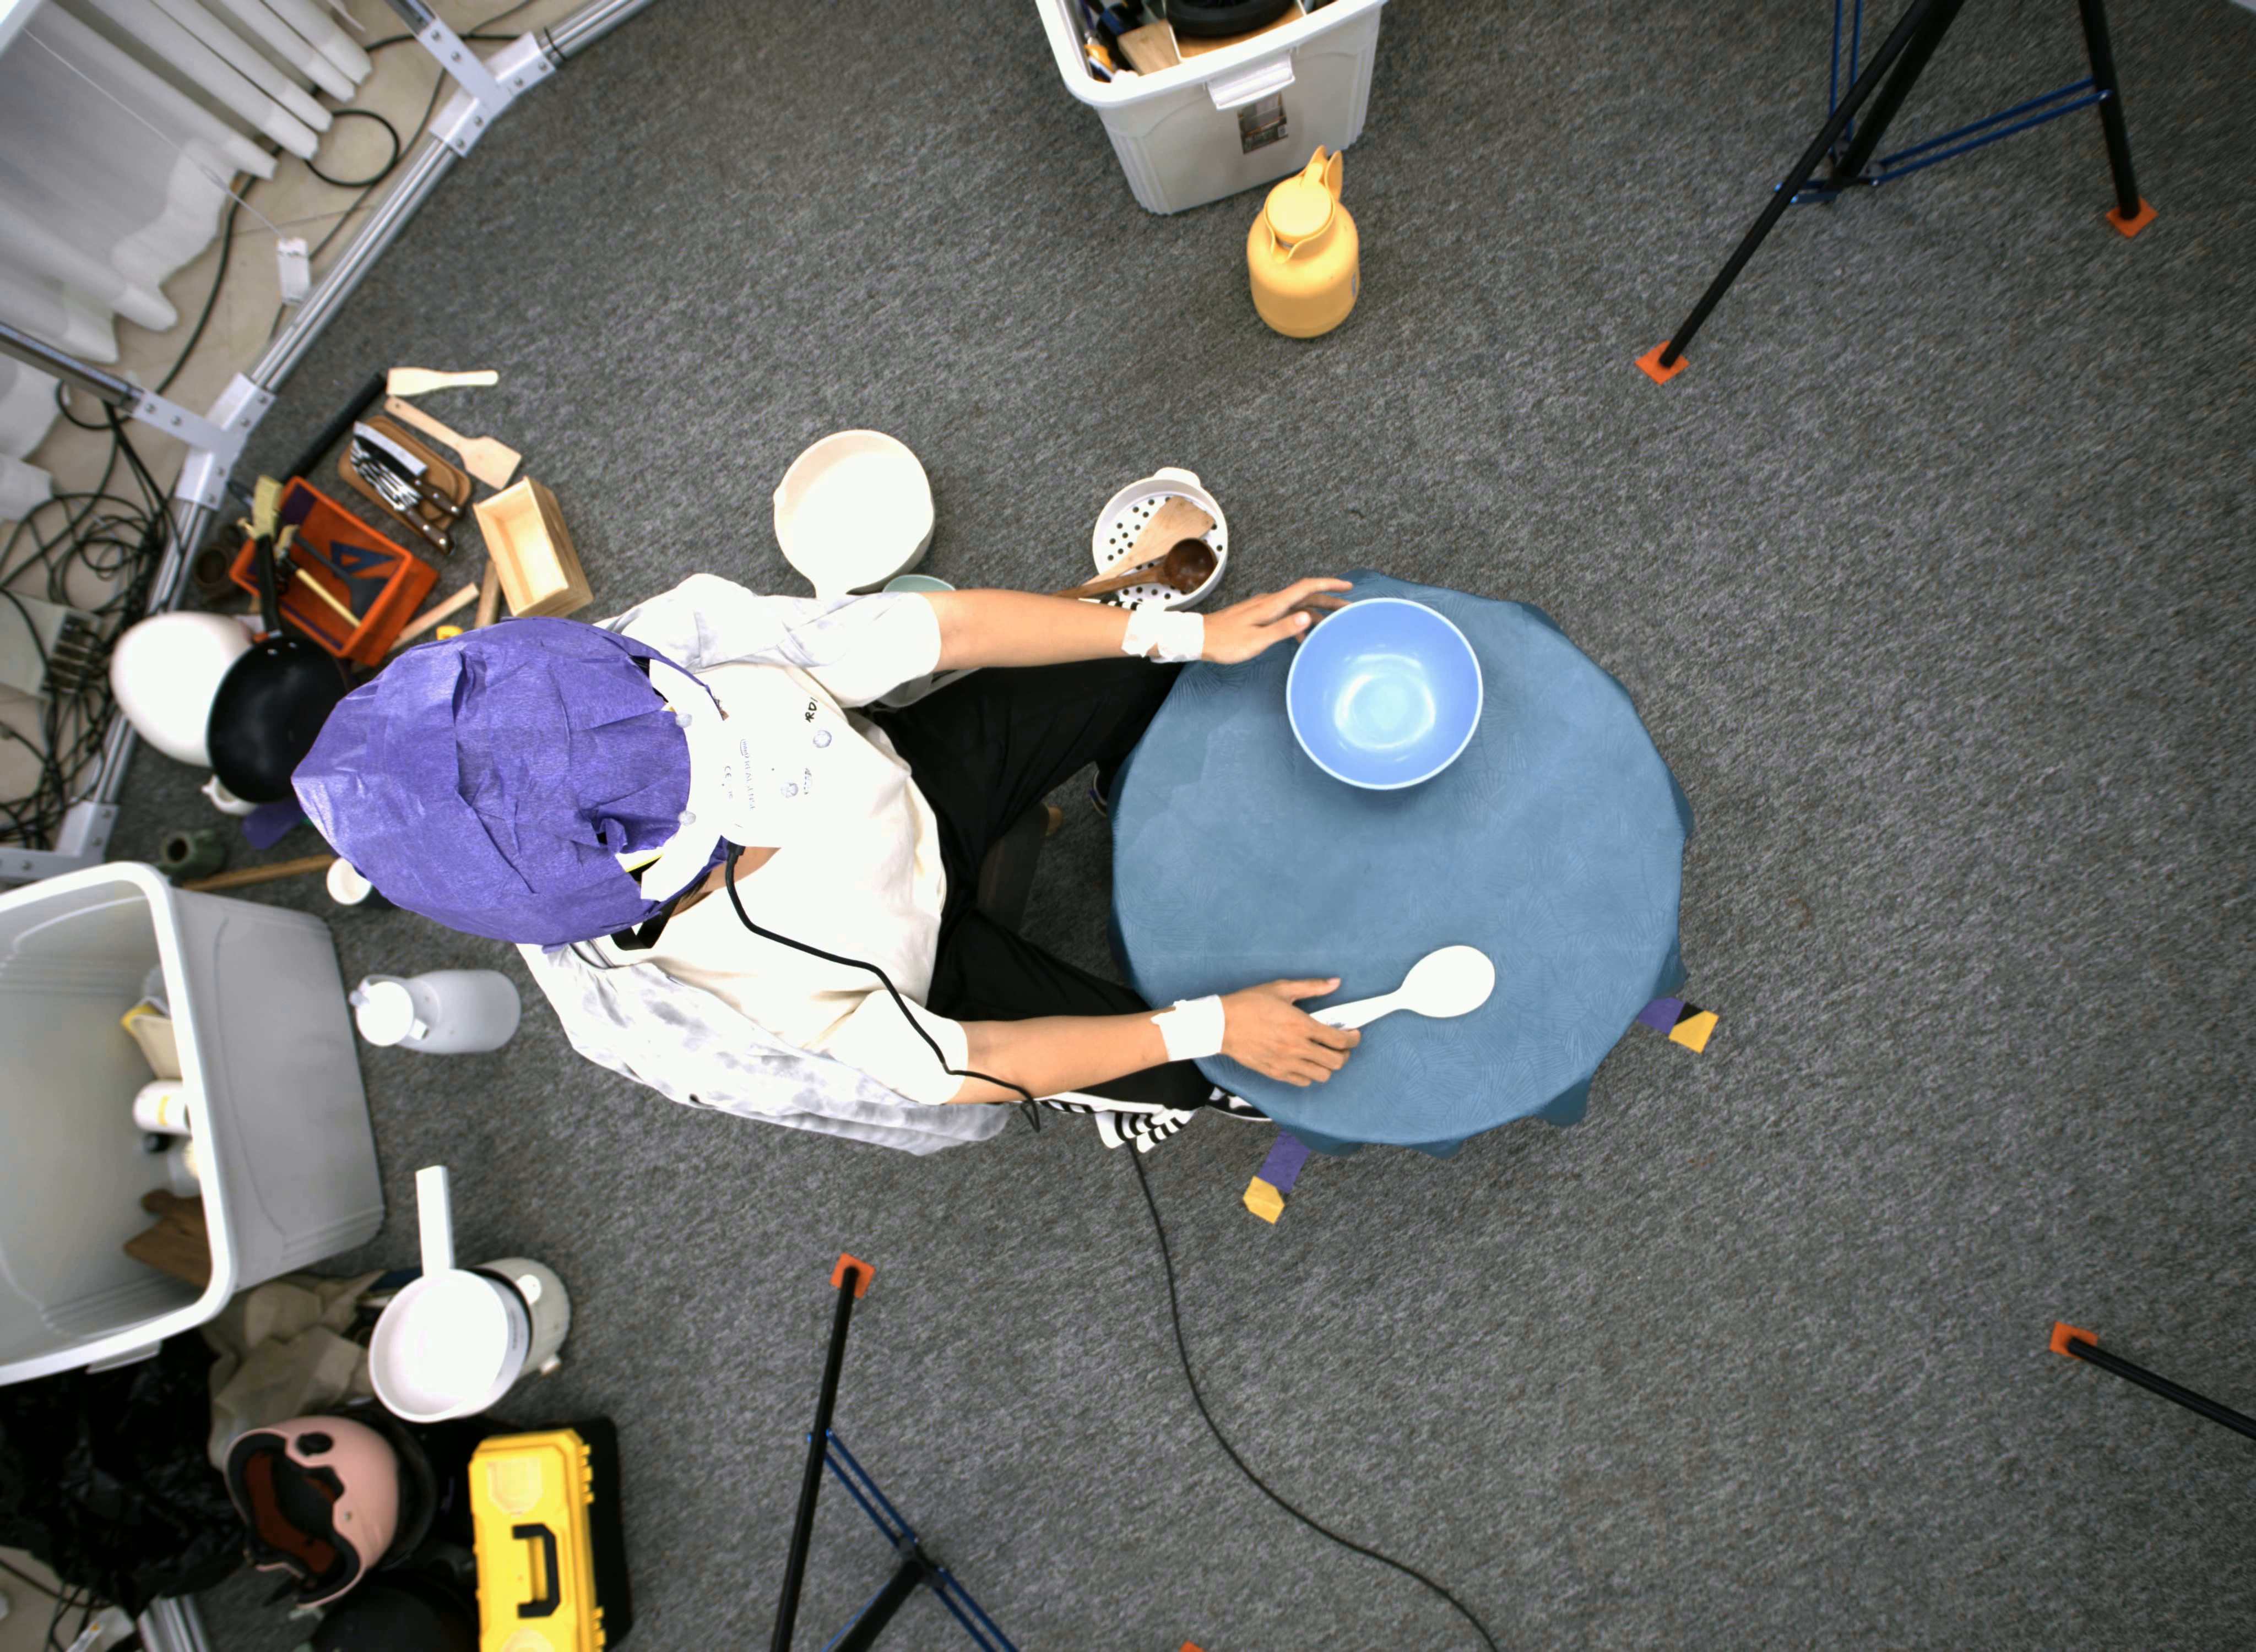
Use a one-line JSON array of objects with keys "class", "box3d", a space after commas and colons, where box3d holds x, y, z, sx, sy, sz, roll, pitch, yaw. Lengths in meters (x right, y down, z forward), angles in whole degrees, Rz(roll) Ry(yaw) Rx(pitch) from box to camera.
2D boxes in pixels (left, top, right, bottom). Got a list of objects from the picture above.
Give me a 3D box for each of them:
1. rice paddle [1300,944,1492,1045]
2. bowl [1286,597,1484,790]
[{"class": "rice paddle", "box3d": [0.279, 0.177, 1.435, 0.206, 0.029, 0.068, -21, 85, 9]}, {"class": "bowl", "box3d": [0.263, -0.131, 1.421, 0.197, 0.095, 0.196, -1, 87, 9]}]
